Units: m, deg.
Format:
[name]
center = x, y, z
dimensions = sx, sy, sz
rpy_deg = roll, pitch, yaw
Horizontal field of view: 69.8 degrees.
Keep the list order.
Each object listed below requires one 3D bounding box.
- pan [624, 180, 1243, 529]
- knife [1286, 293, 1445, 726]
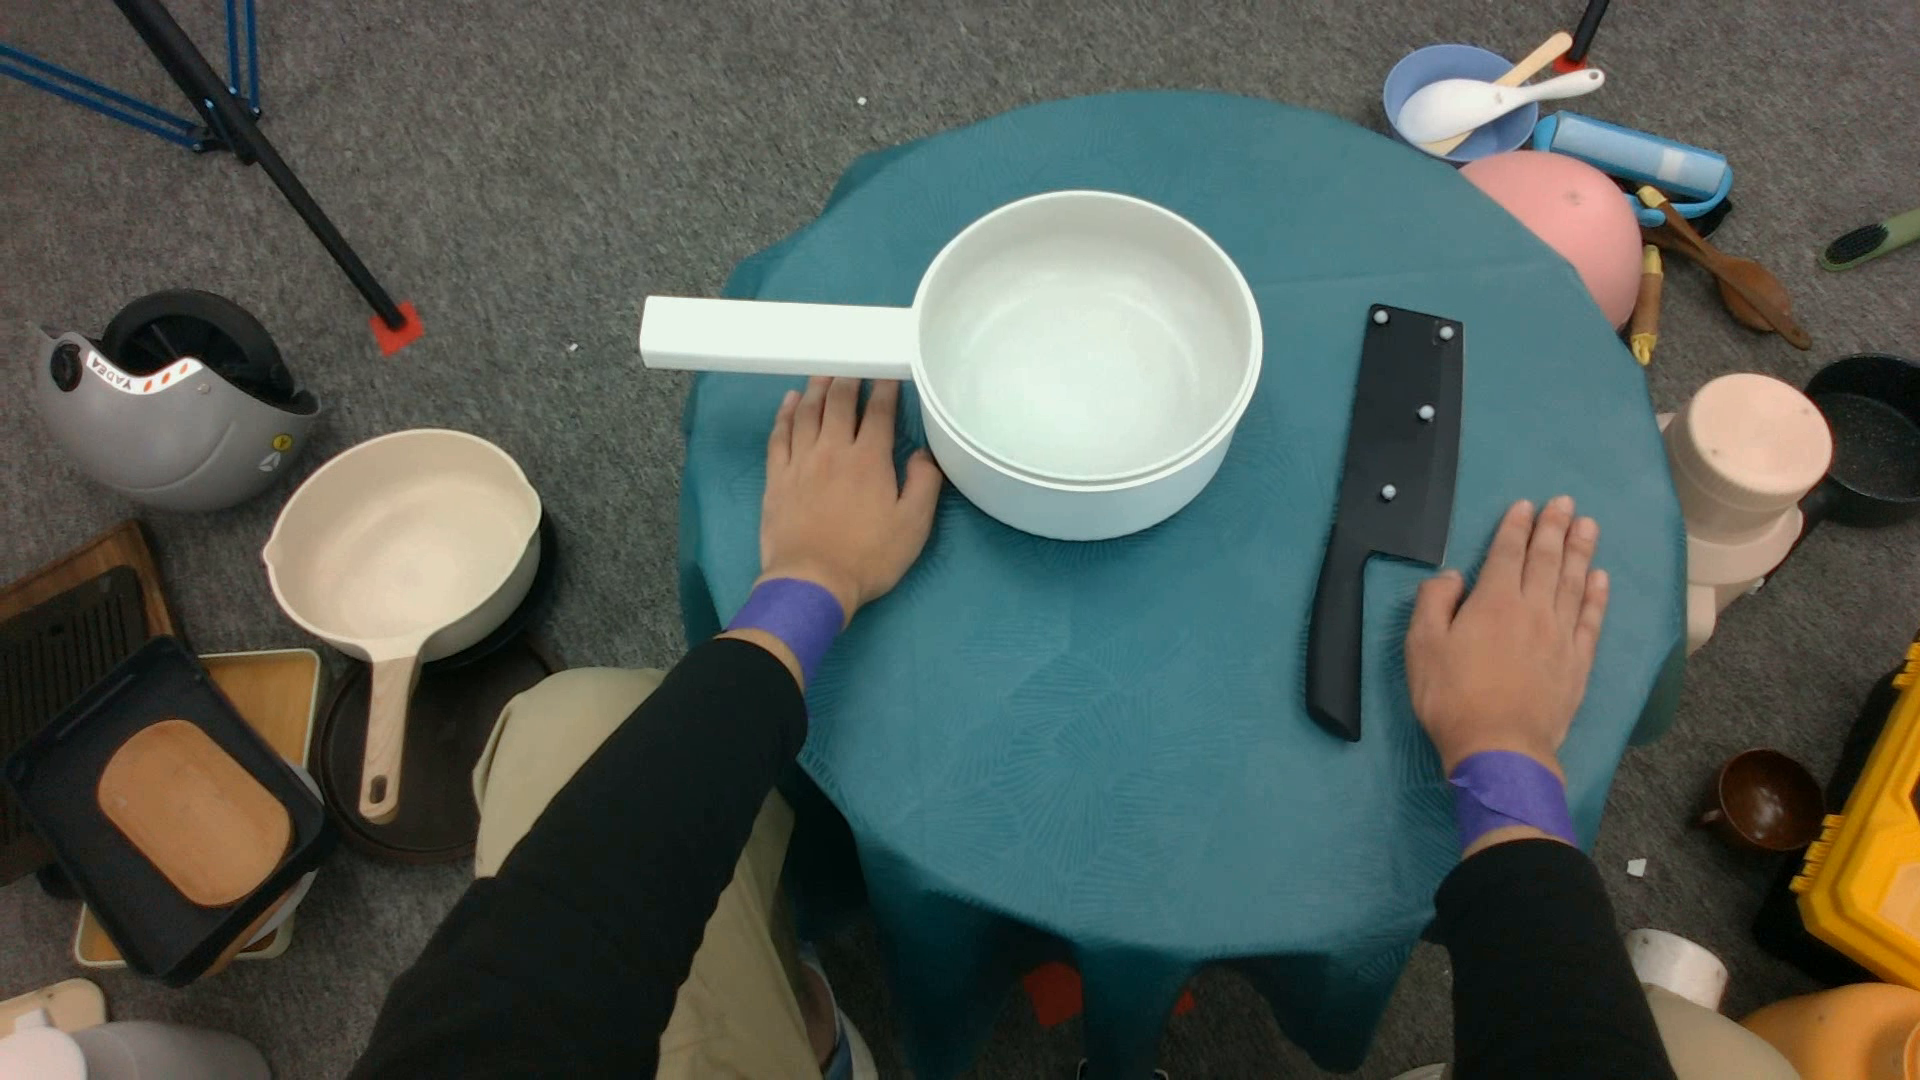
[pan]
center = -0.015, -0.109, 0.827
dimensions = 0.355, 0.102, 0.202
rpy_deg = 2, 65, 3
[knife]
center = 0.247, -0.028, 0.832
dimensions = 0.081, 0.021, 0.303
rpy_deg = 18, 64, 8
